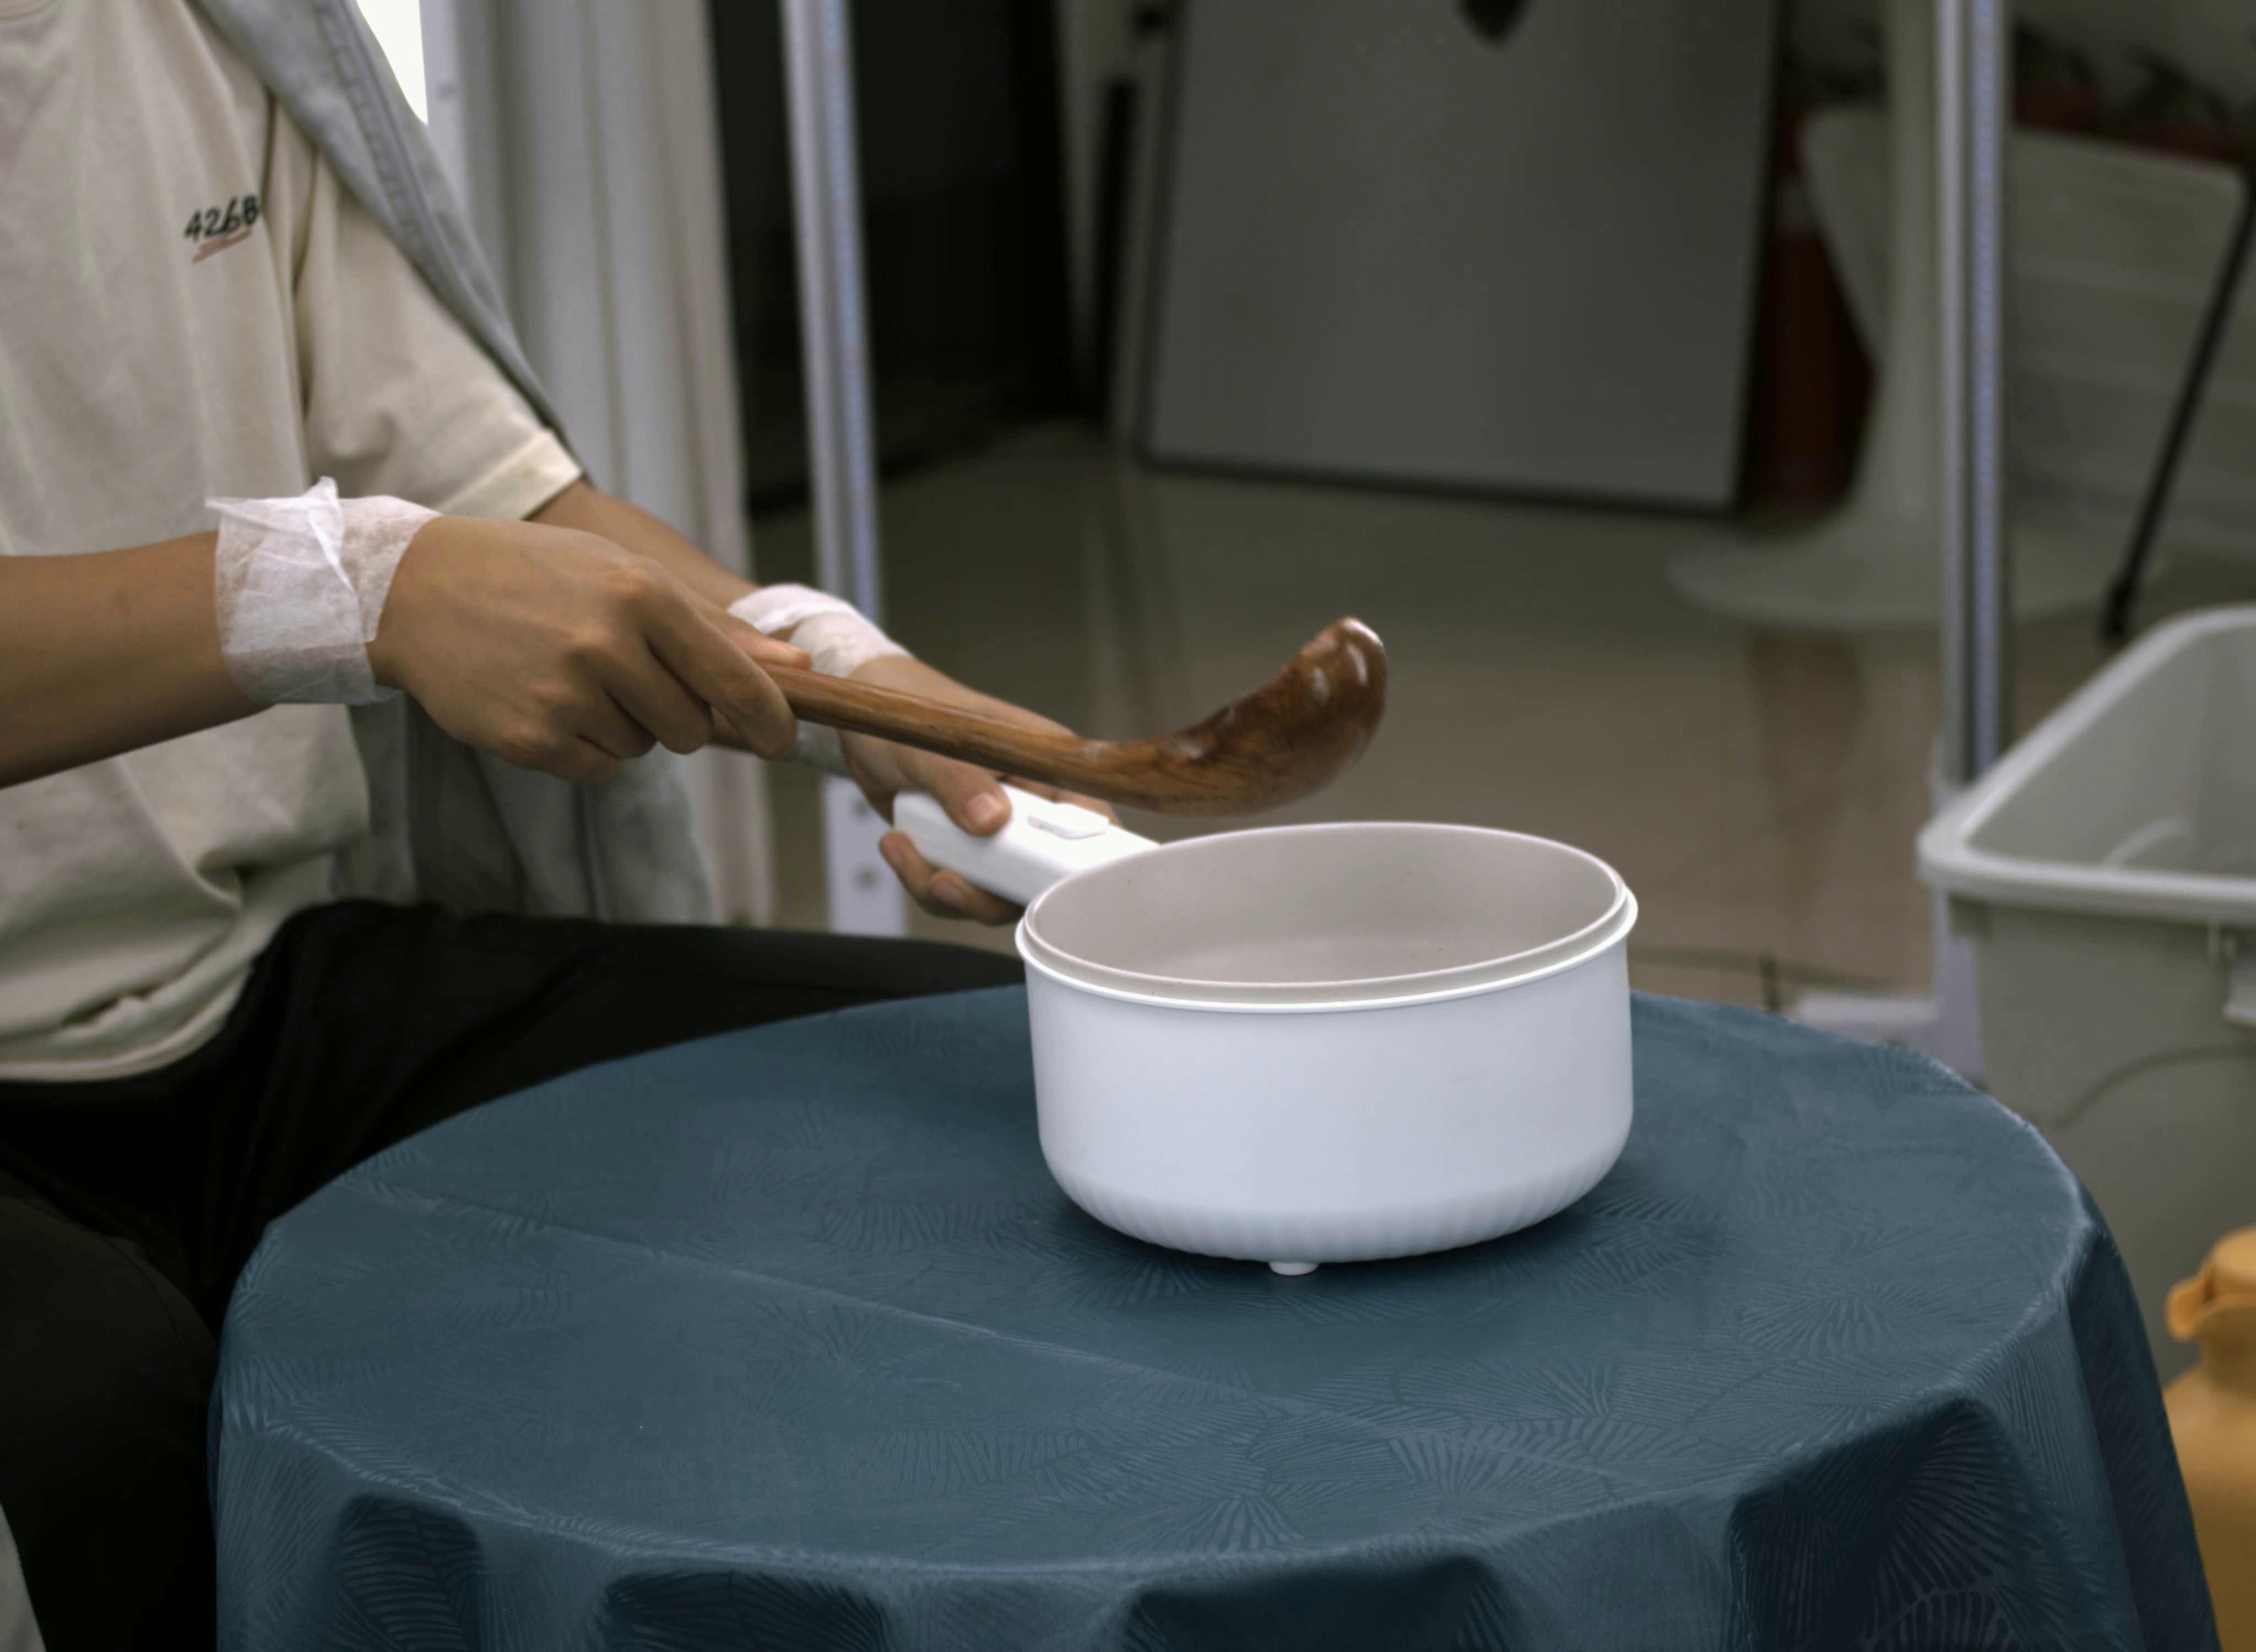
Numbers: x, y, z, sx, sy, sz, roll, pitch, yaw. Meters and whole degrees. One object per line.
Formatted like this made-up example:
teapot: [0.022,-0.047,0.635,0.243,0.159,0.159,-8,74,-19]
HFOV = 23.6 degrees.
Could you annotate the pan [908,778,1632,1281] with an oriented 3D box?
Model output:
pan: [0.027,0.061,1.807,0.197,0.103,0.358,-13,16,-28]

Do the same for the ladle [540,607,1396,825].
ladle: [-0.049,-0.052,1.739,0.271,0.082,0.077,11,57,5]
